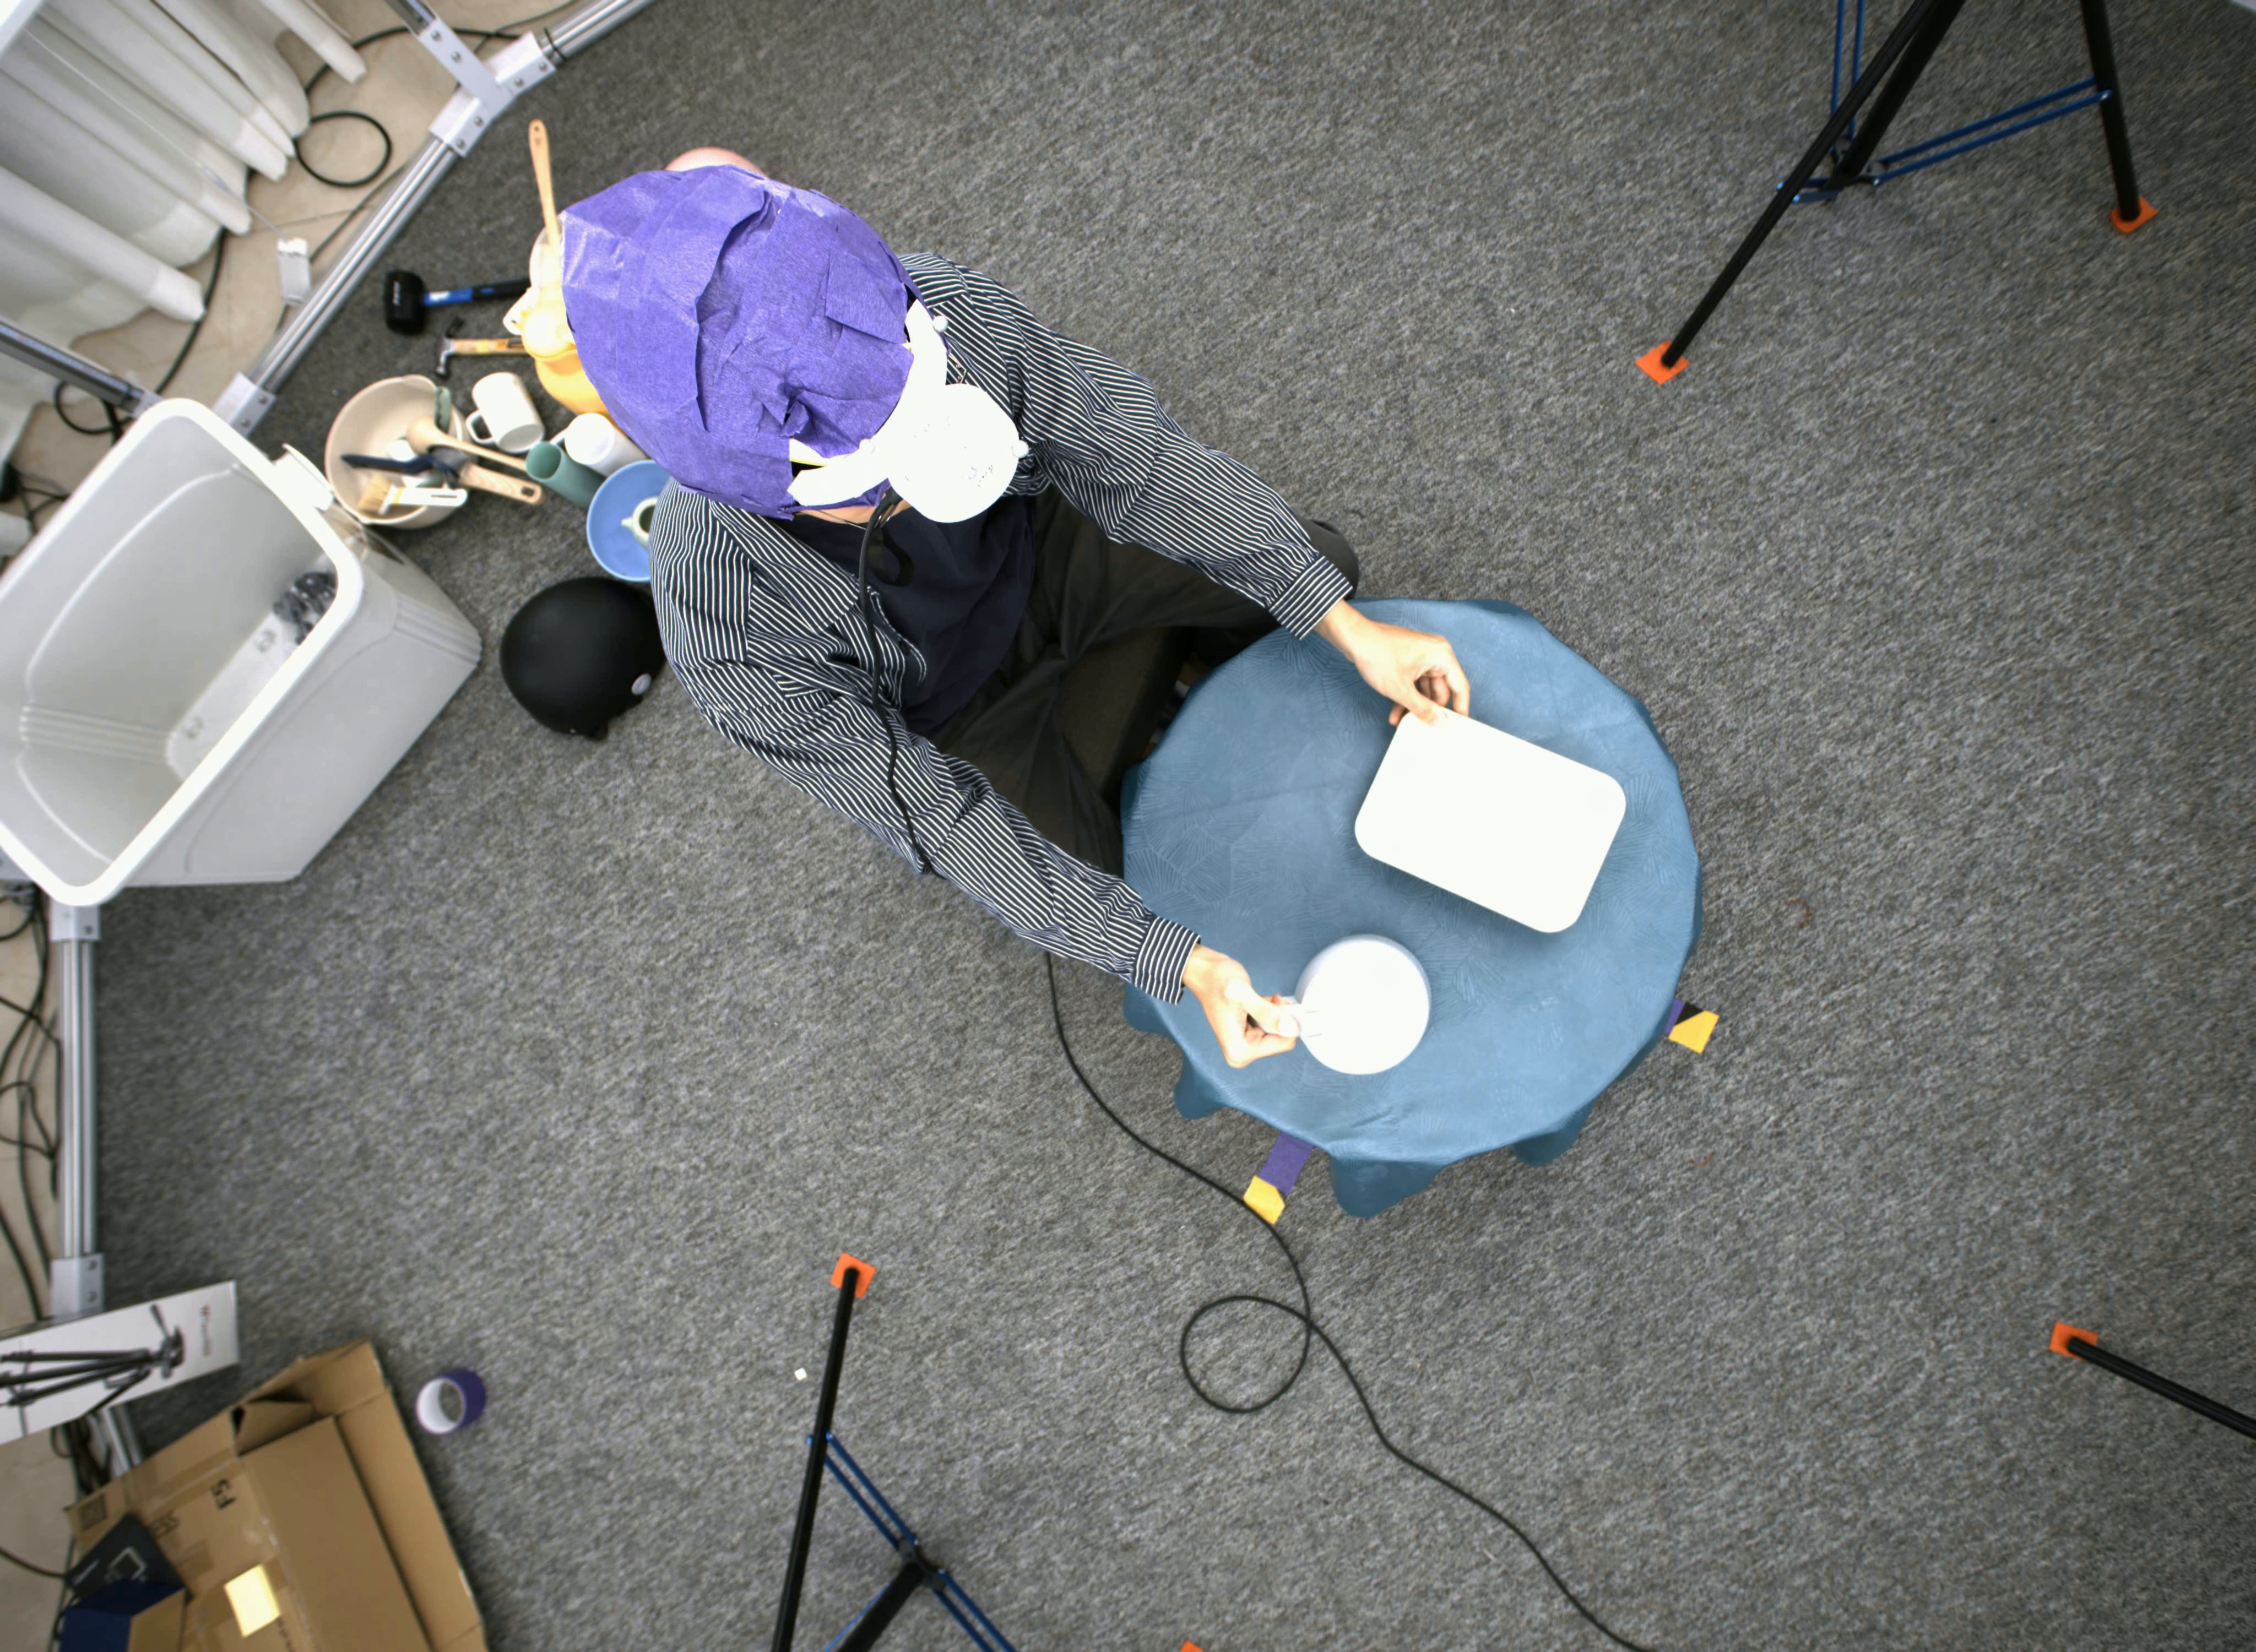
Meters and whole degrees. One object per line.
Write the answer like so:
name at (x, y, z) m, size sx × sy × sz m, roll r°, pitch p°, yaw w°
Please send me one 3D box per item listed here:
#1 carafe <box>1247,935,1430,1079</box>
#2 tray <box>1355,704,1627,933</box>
carafe at (0.199, 0.178, 1.306) m, size 0.169 × 0.247 × 0.132 m, roll -9°, pitch 88°, yaw 13°
tray at (0.361, -0.010, 1.376) m, size 0.239 × 0.017 × 0.171 m, roll 24°, pitch 90°, yaw 12°
